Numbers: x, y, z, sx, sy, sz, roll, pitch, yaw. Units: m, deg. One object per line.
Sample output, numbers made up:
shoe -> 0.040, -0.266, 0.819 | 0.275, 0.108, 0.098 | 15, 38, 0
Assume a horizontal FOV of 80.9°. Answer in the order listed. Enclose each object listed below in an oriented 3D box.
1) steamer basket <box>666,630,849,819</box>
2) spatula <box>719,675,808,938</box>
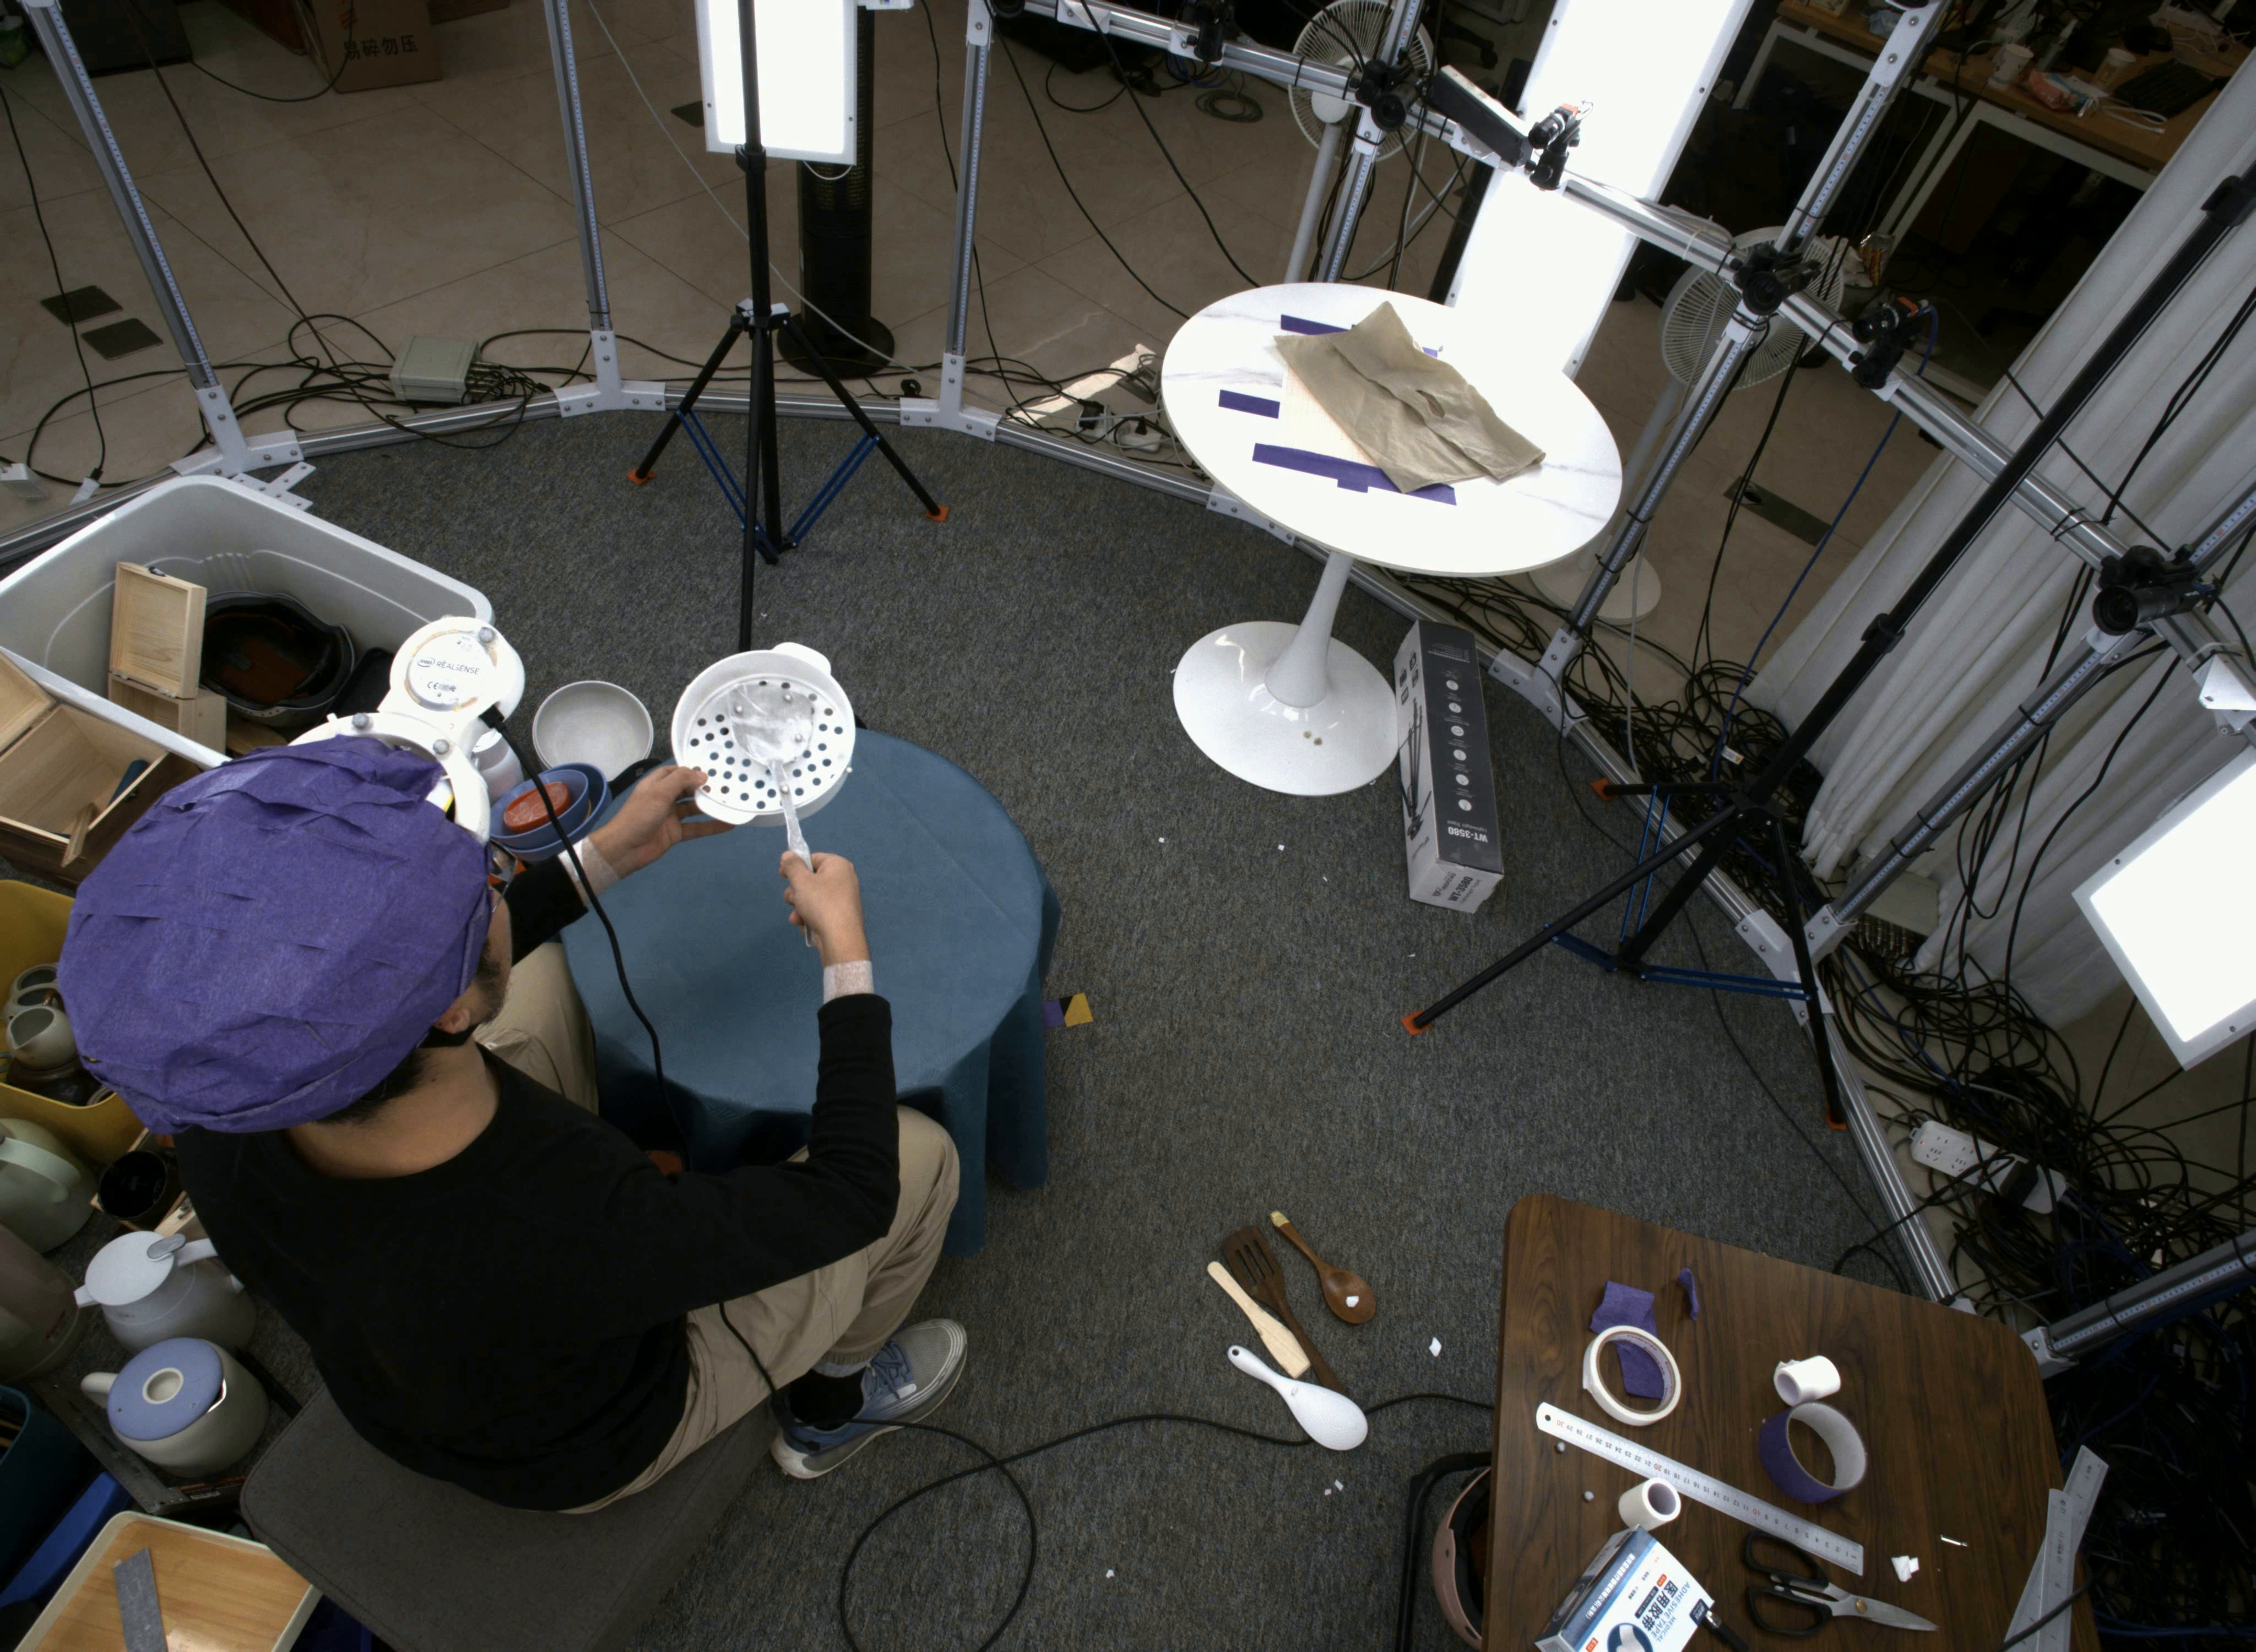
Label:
steamer basket -> -0.416, -0.108, 1.460 | 0.201, 0.069, 0.230 | 23, 68, -5
spatula -> -0.374, -0.030, 1.380 | 0.100, 0.045, 0.354 | 8, 41, -33
